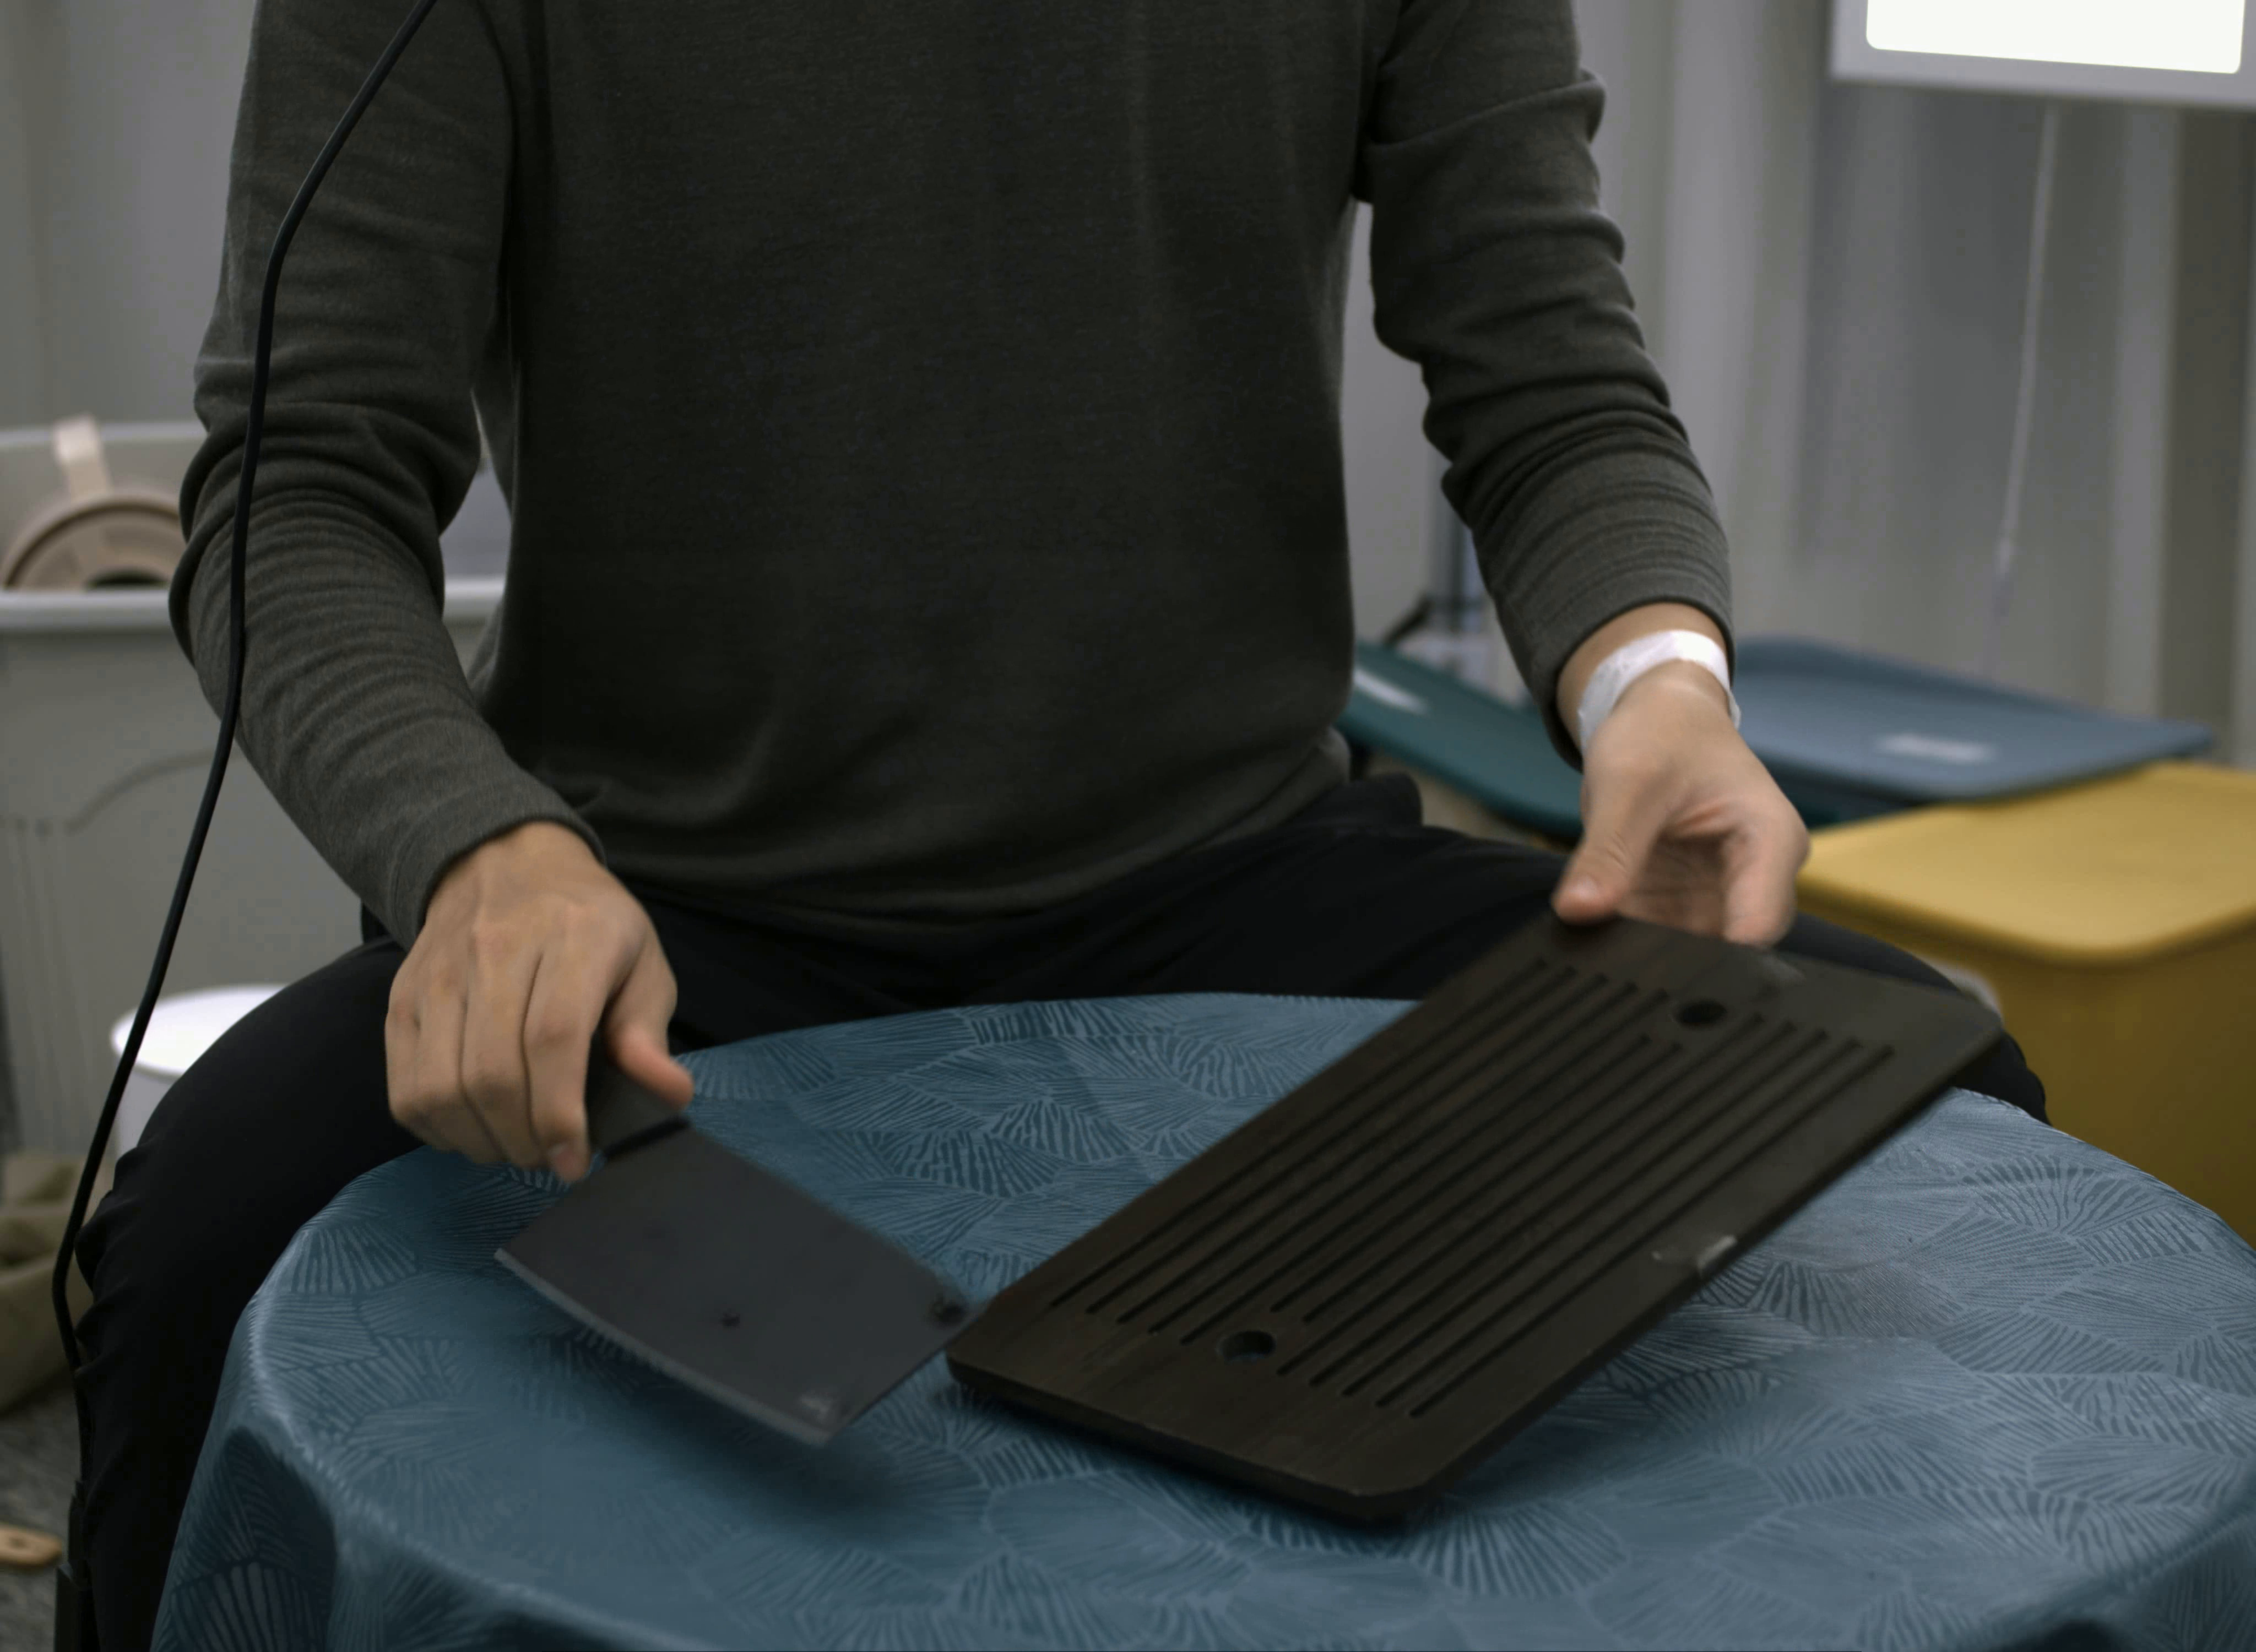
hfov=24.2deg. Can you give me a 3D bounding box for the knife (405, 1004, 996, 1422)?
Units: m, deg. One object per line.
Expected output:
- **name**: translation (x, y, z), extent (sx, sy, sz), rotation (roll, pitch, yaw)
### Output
- **knife**: translation (-0.135, 0.104, 1.490), extent (0.081, 0.021, 0.298), rotation (-37, 31, -16)

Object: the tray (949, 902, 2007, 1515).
- **tray**: translation (0.105, 0.105, 1.505), extent (0.168, 0.019, 0.306), rotation (13, 32, 39)
